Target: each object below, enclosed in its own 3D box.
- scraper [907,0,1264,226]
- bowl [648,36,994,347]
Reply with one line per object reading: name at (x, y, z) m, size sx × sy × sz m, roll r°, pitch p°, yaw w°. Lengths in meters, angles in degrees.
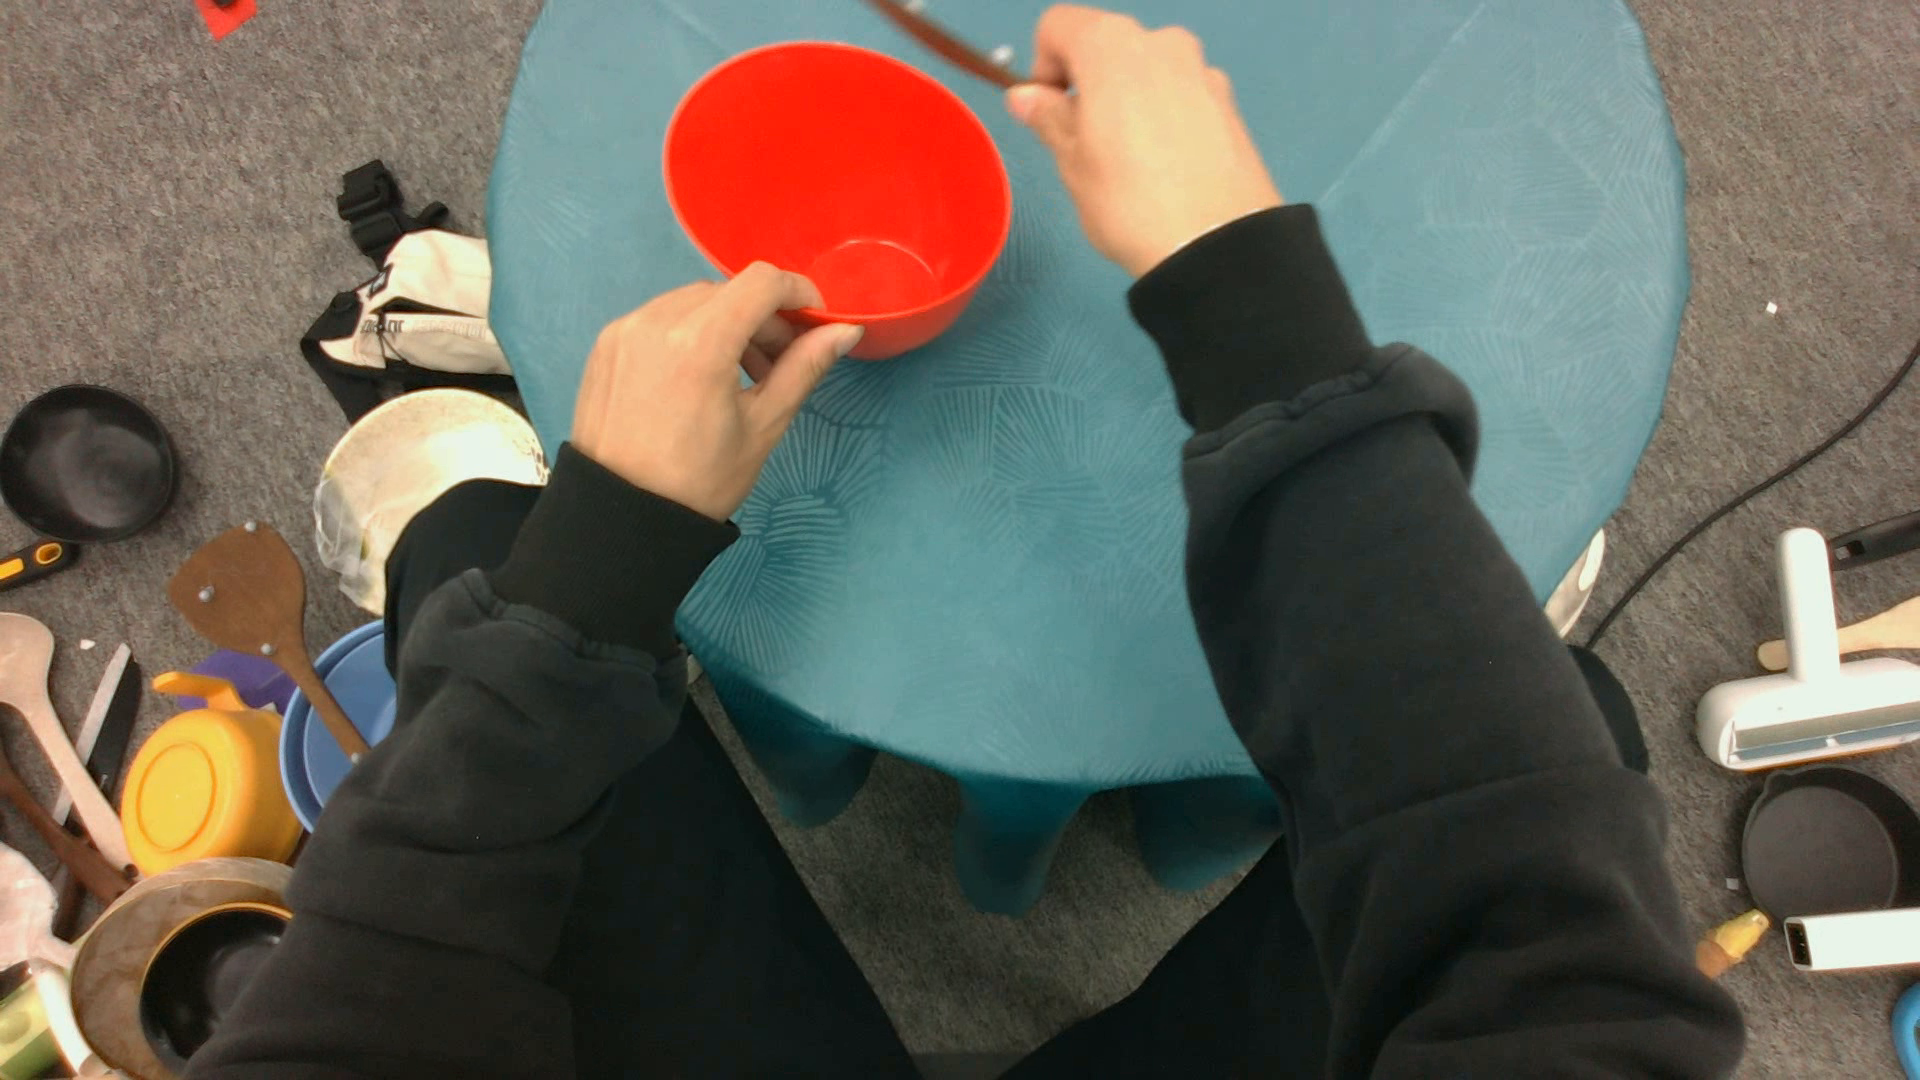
scraper at (0.038, -0.189, 0.564) m, size 0.211 × 0.076 × 0.011 m, roll 37°, pitch 100°, yaw 12°
bowl at (-0.060, -0.145, 0.630) m, size 0.148 × 0.104 × 0.148 m, roll 2°, pitch 63°, yaw -3°
